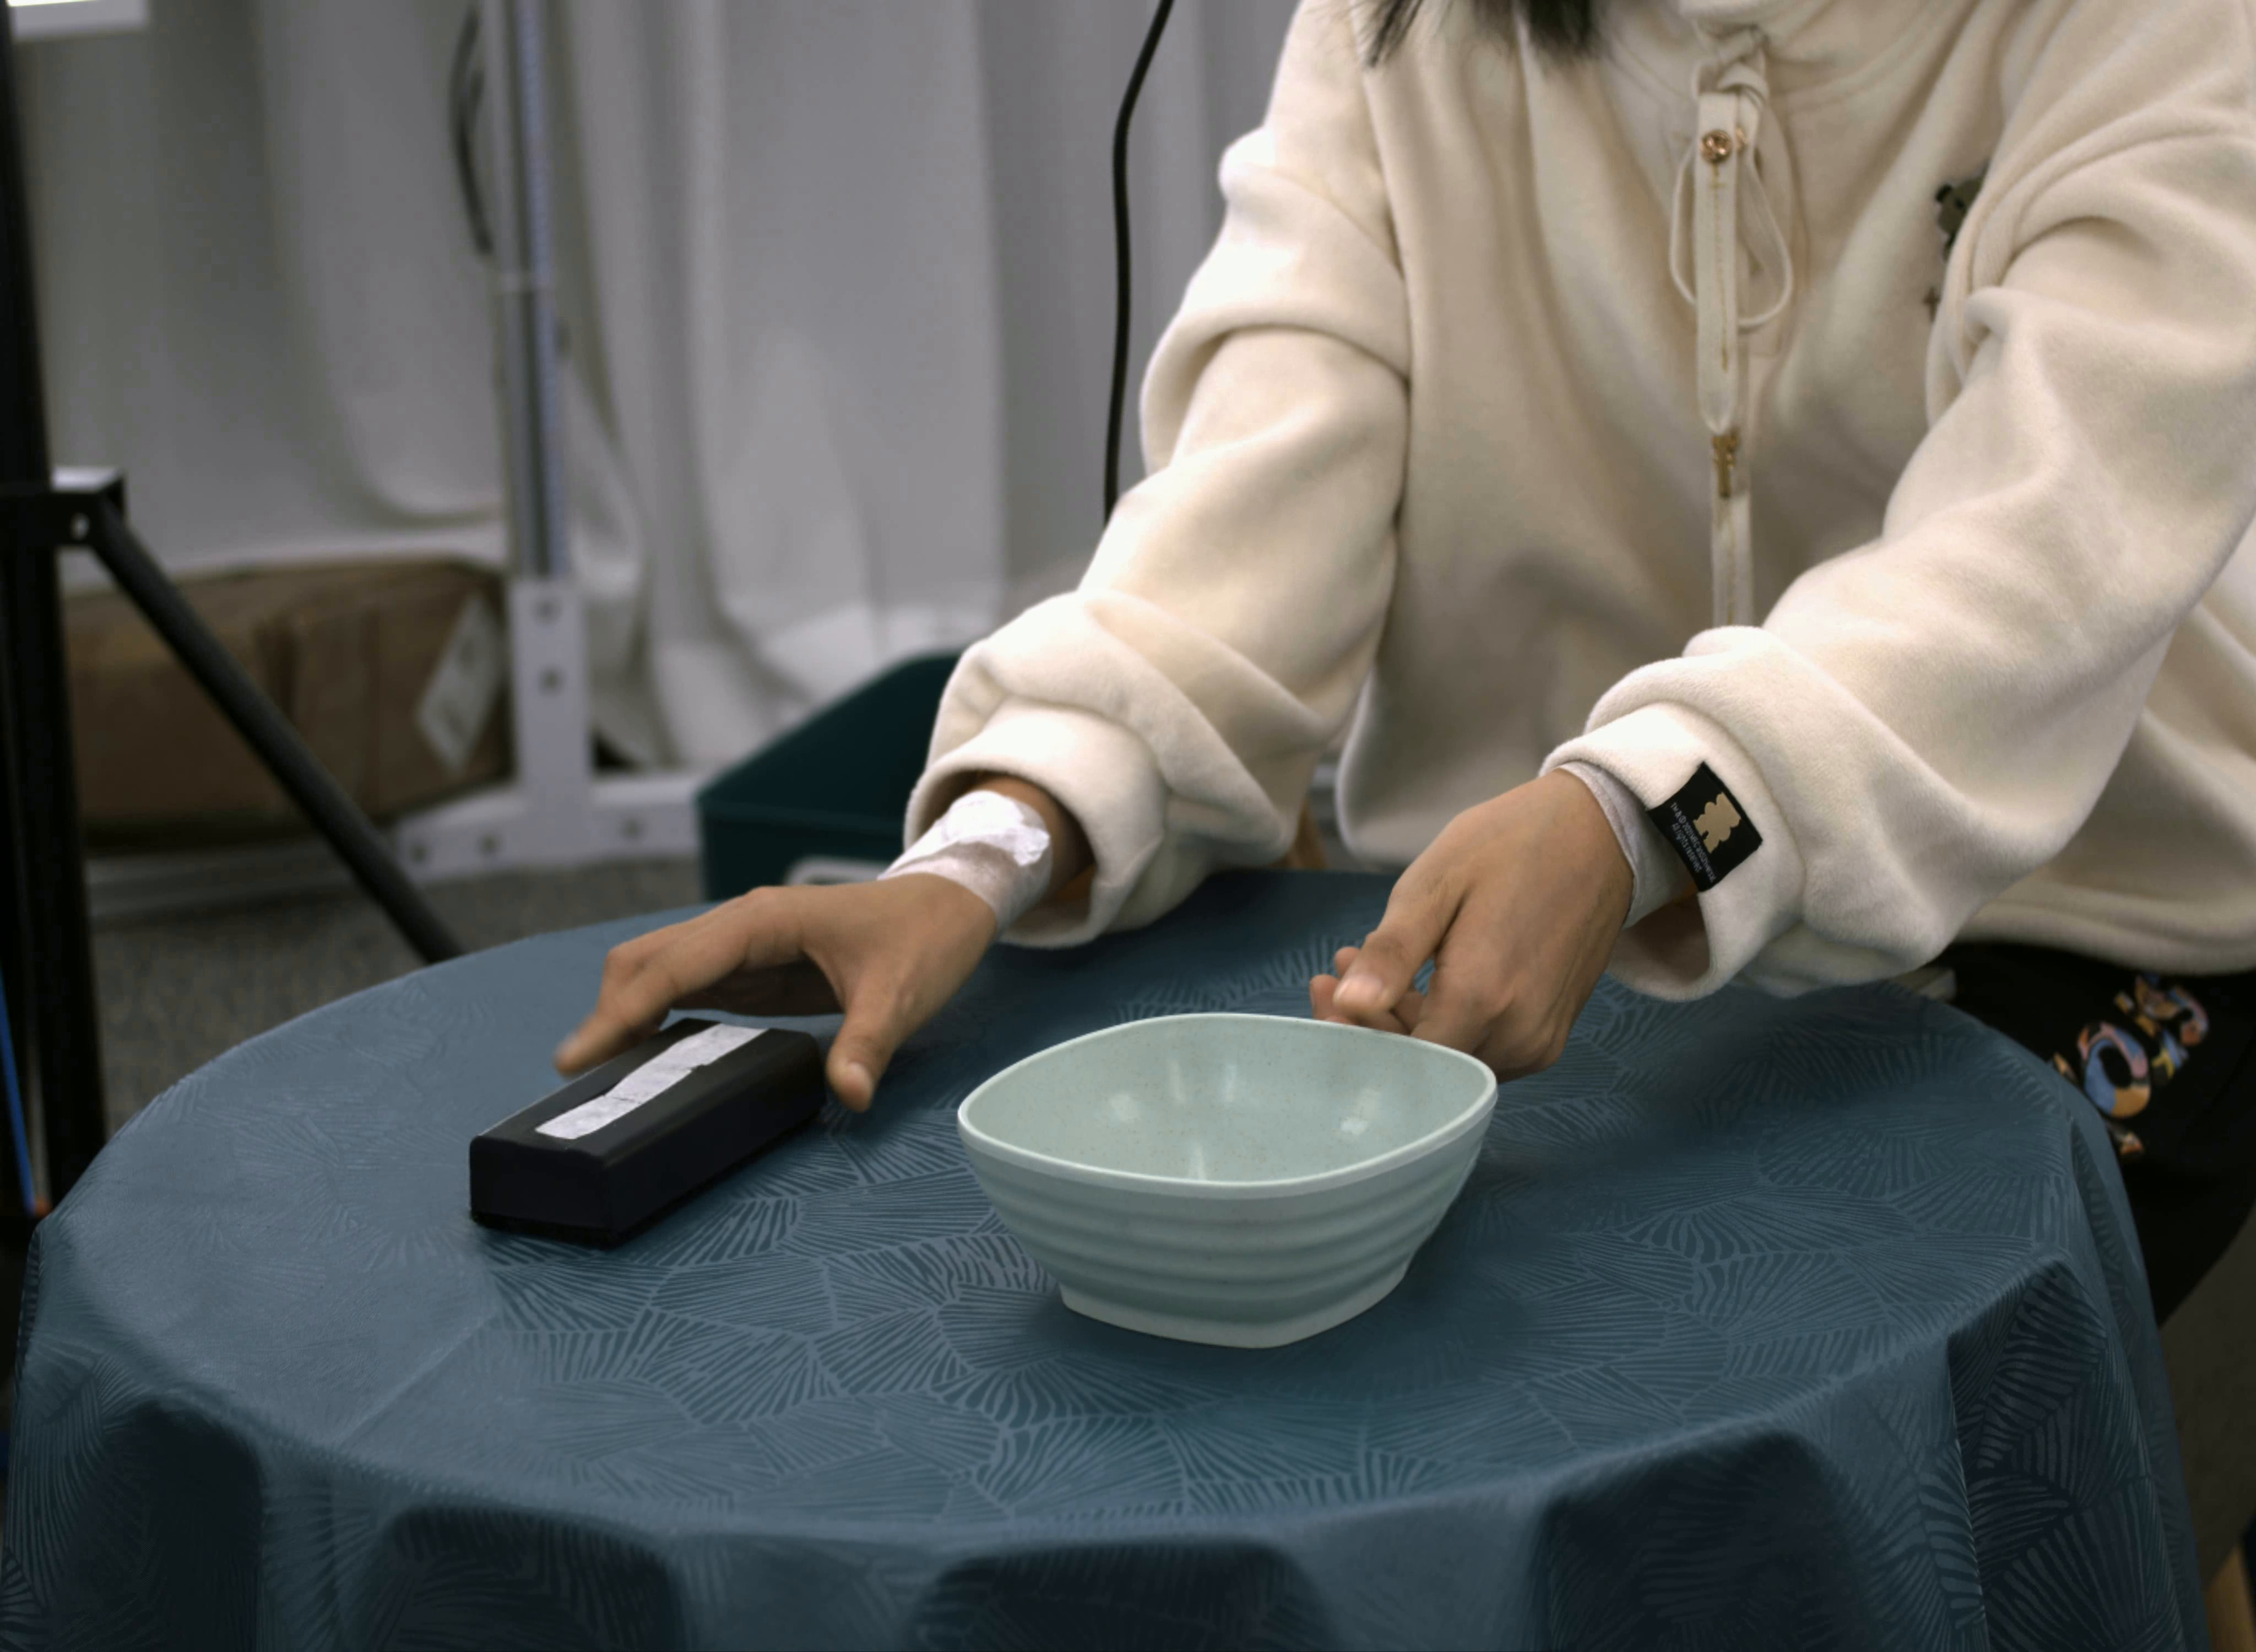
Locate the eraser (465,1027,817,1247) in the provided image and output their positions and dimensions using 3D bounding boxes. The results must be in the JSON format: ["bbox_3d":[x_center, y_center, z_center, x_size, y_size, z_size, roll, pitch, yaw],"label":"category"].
[{"bbox_3d":[-0.144,0.092,1.590,0.054,0.030,0.123,7,16,24],"label":"eraser"}]

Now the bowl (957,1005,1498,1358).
[{"bbox_3d":[0.028,0.102,1.471,0.150,0.058,0.152,-1,18,-1],"label":"bowl"}]
